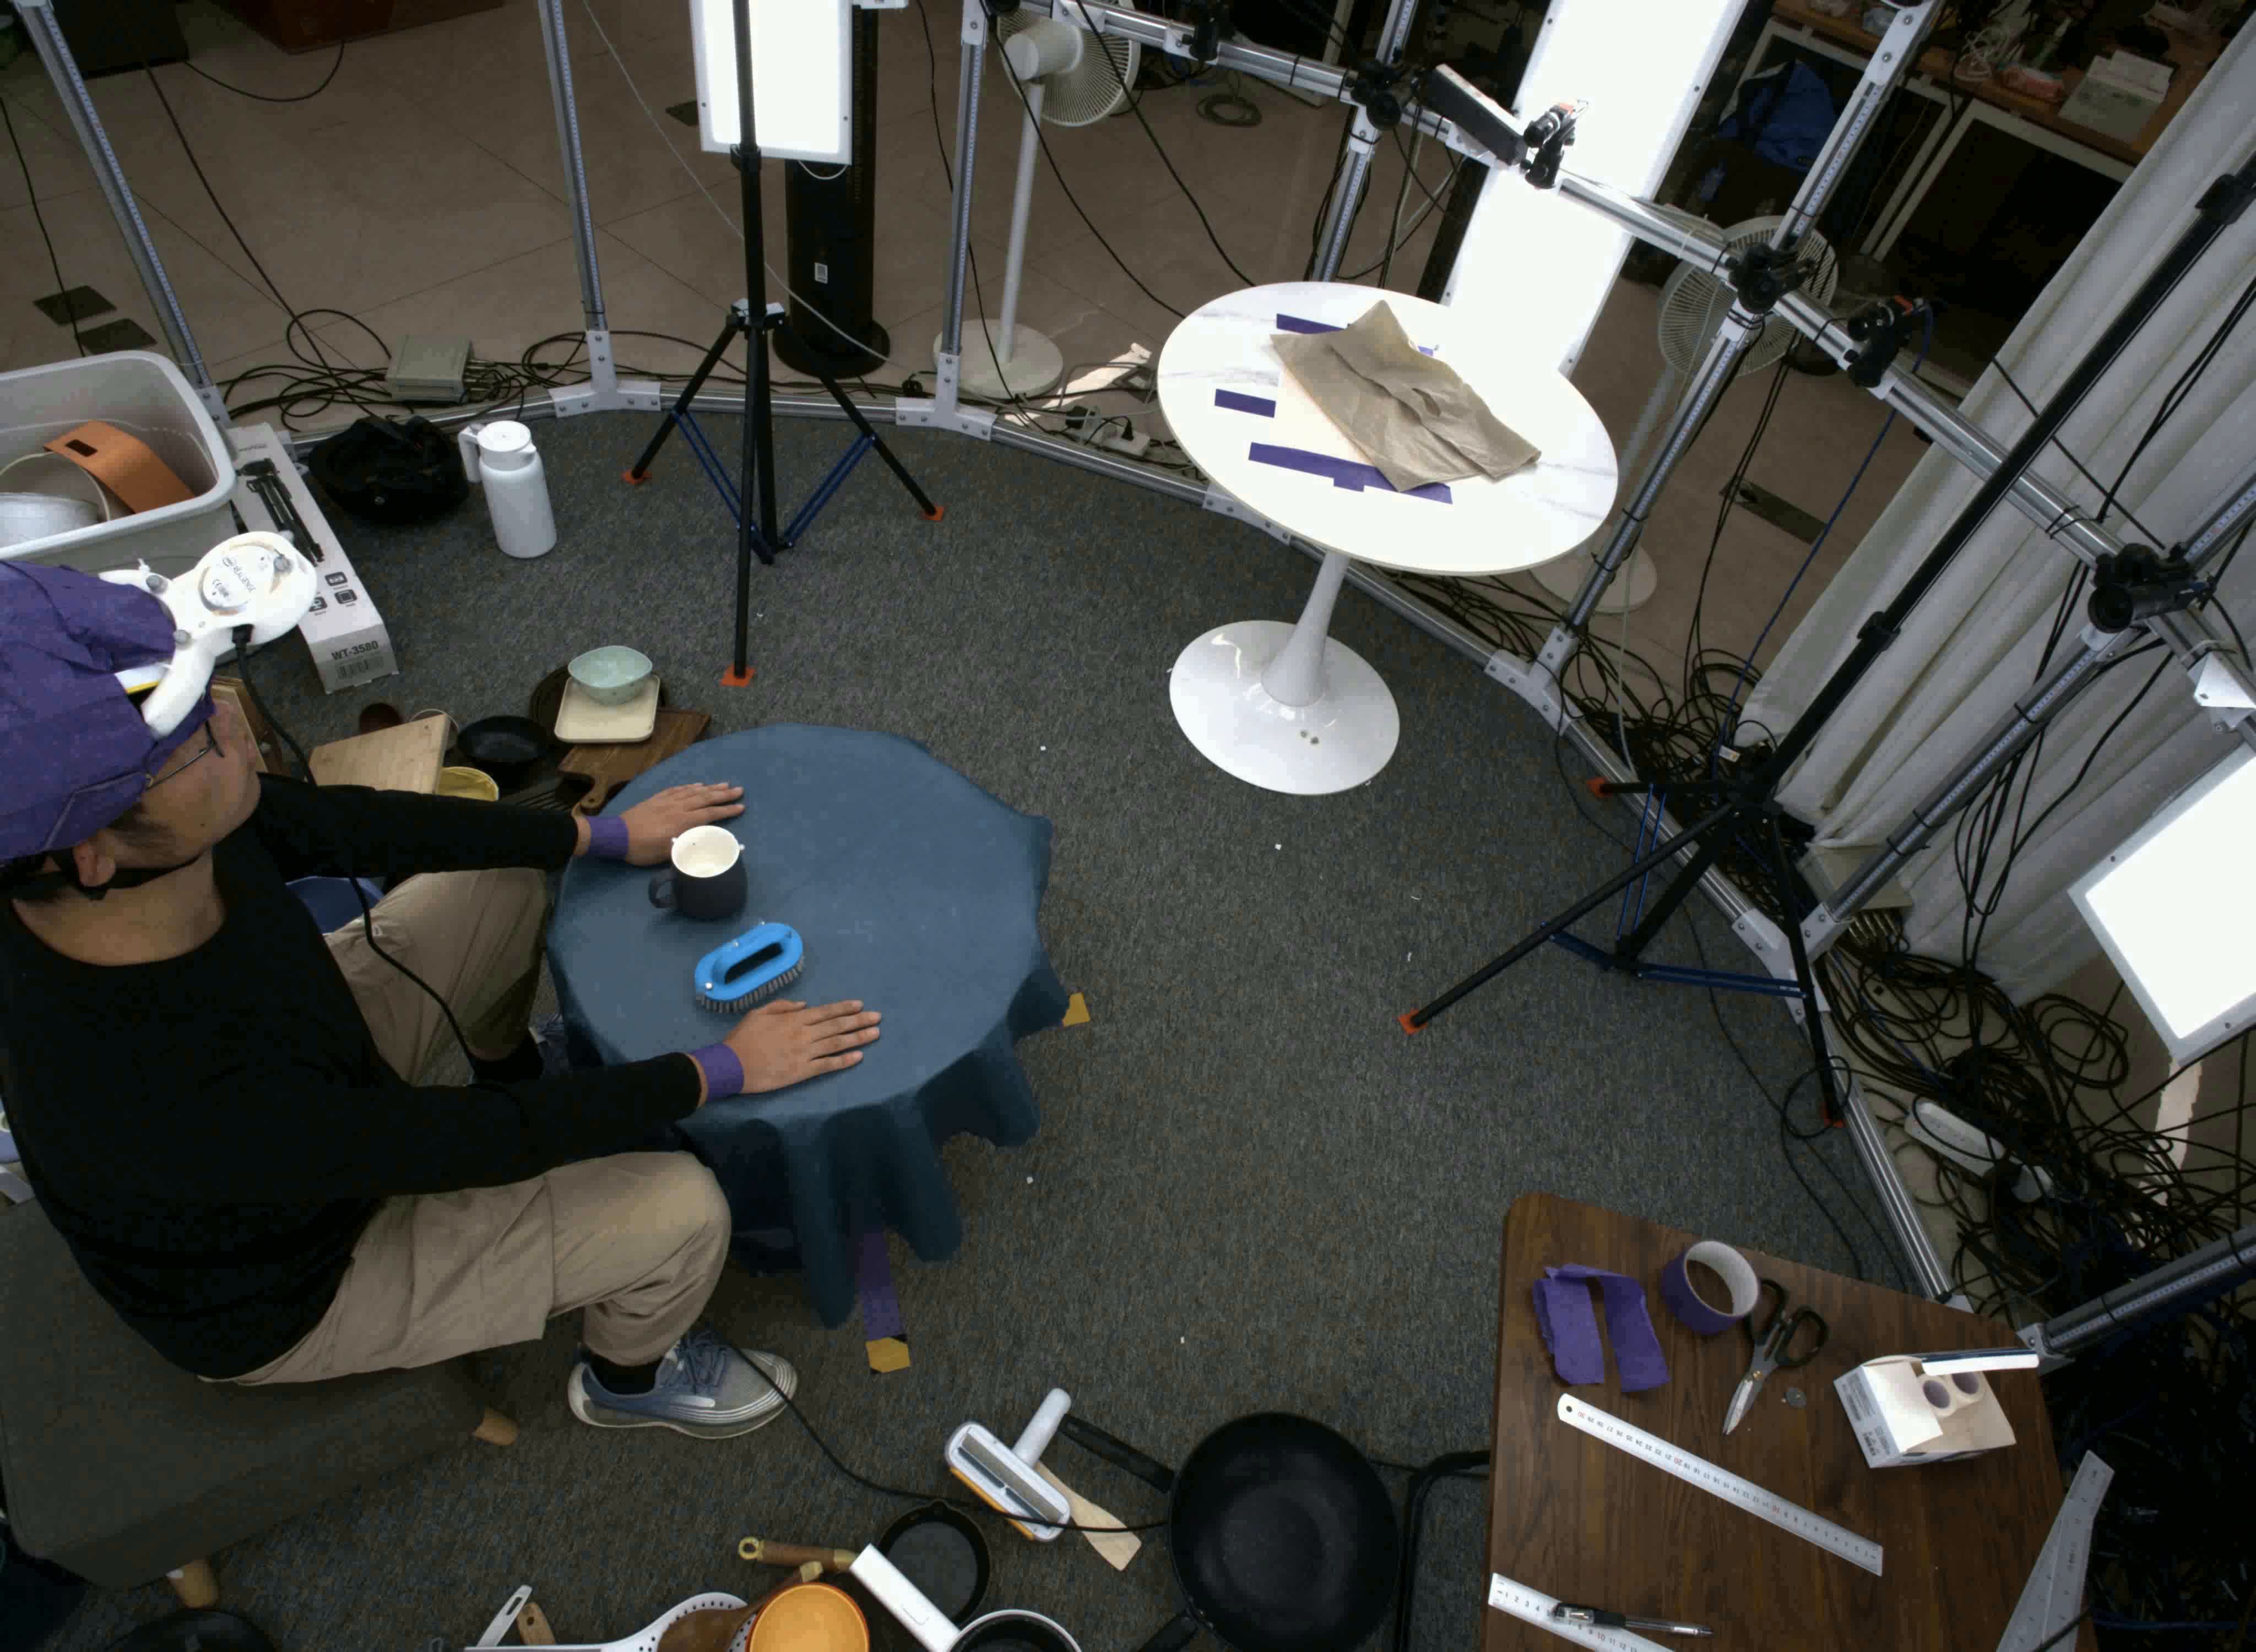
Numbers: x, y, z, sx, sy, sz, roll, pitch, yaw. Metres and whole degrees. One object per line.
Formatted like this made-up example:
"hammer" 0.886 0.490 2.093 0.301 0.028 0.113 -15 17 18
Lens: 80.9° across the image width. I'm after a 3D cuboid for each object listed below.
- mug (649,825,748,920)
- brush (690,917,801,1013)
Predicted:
"mug" -0.534 0.061 1.594 0.124 0.092 0.091 -23 60 -29
"brush" -0.459 0.159 1.558 0.142 0.065 0.083 -31 69 -30
